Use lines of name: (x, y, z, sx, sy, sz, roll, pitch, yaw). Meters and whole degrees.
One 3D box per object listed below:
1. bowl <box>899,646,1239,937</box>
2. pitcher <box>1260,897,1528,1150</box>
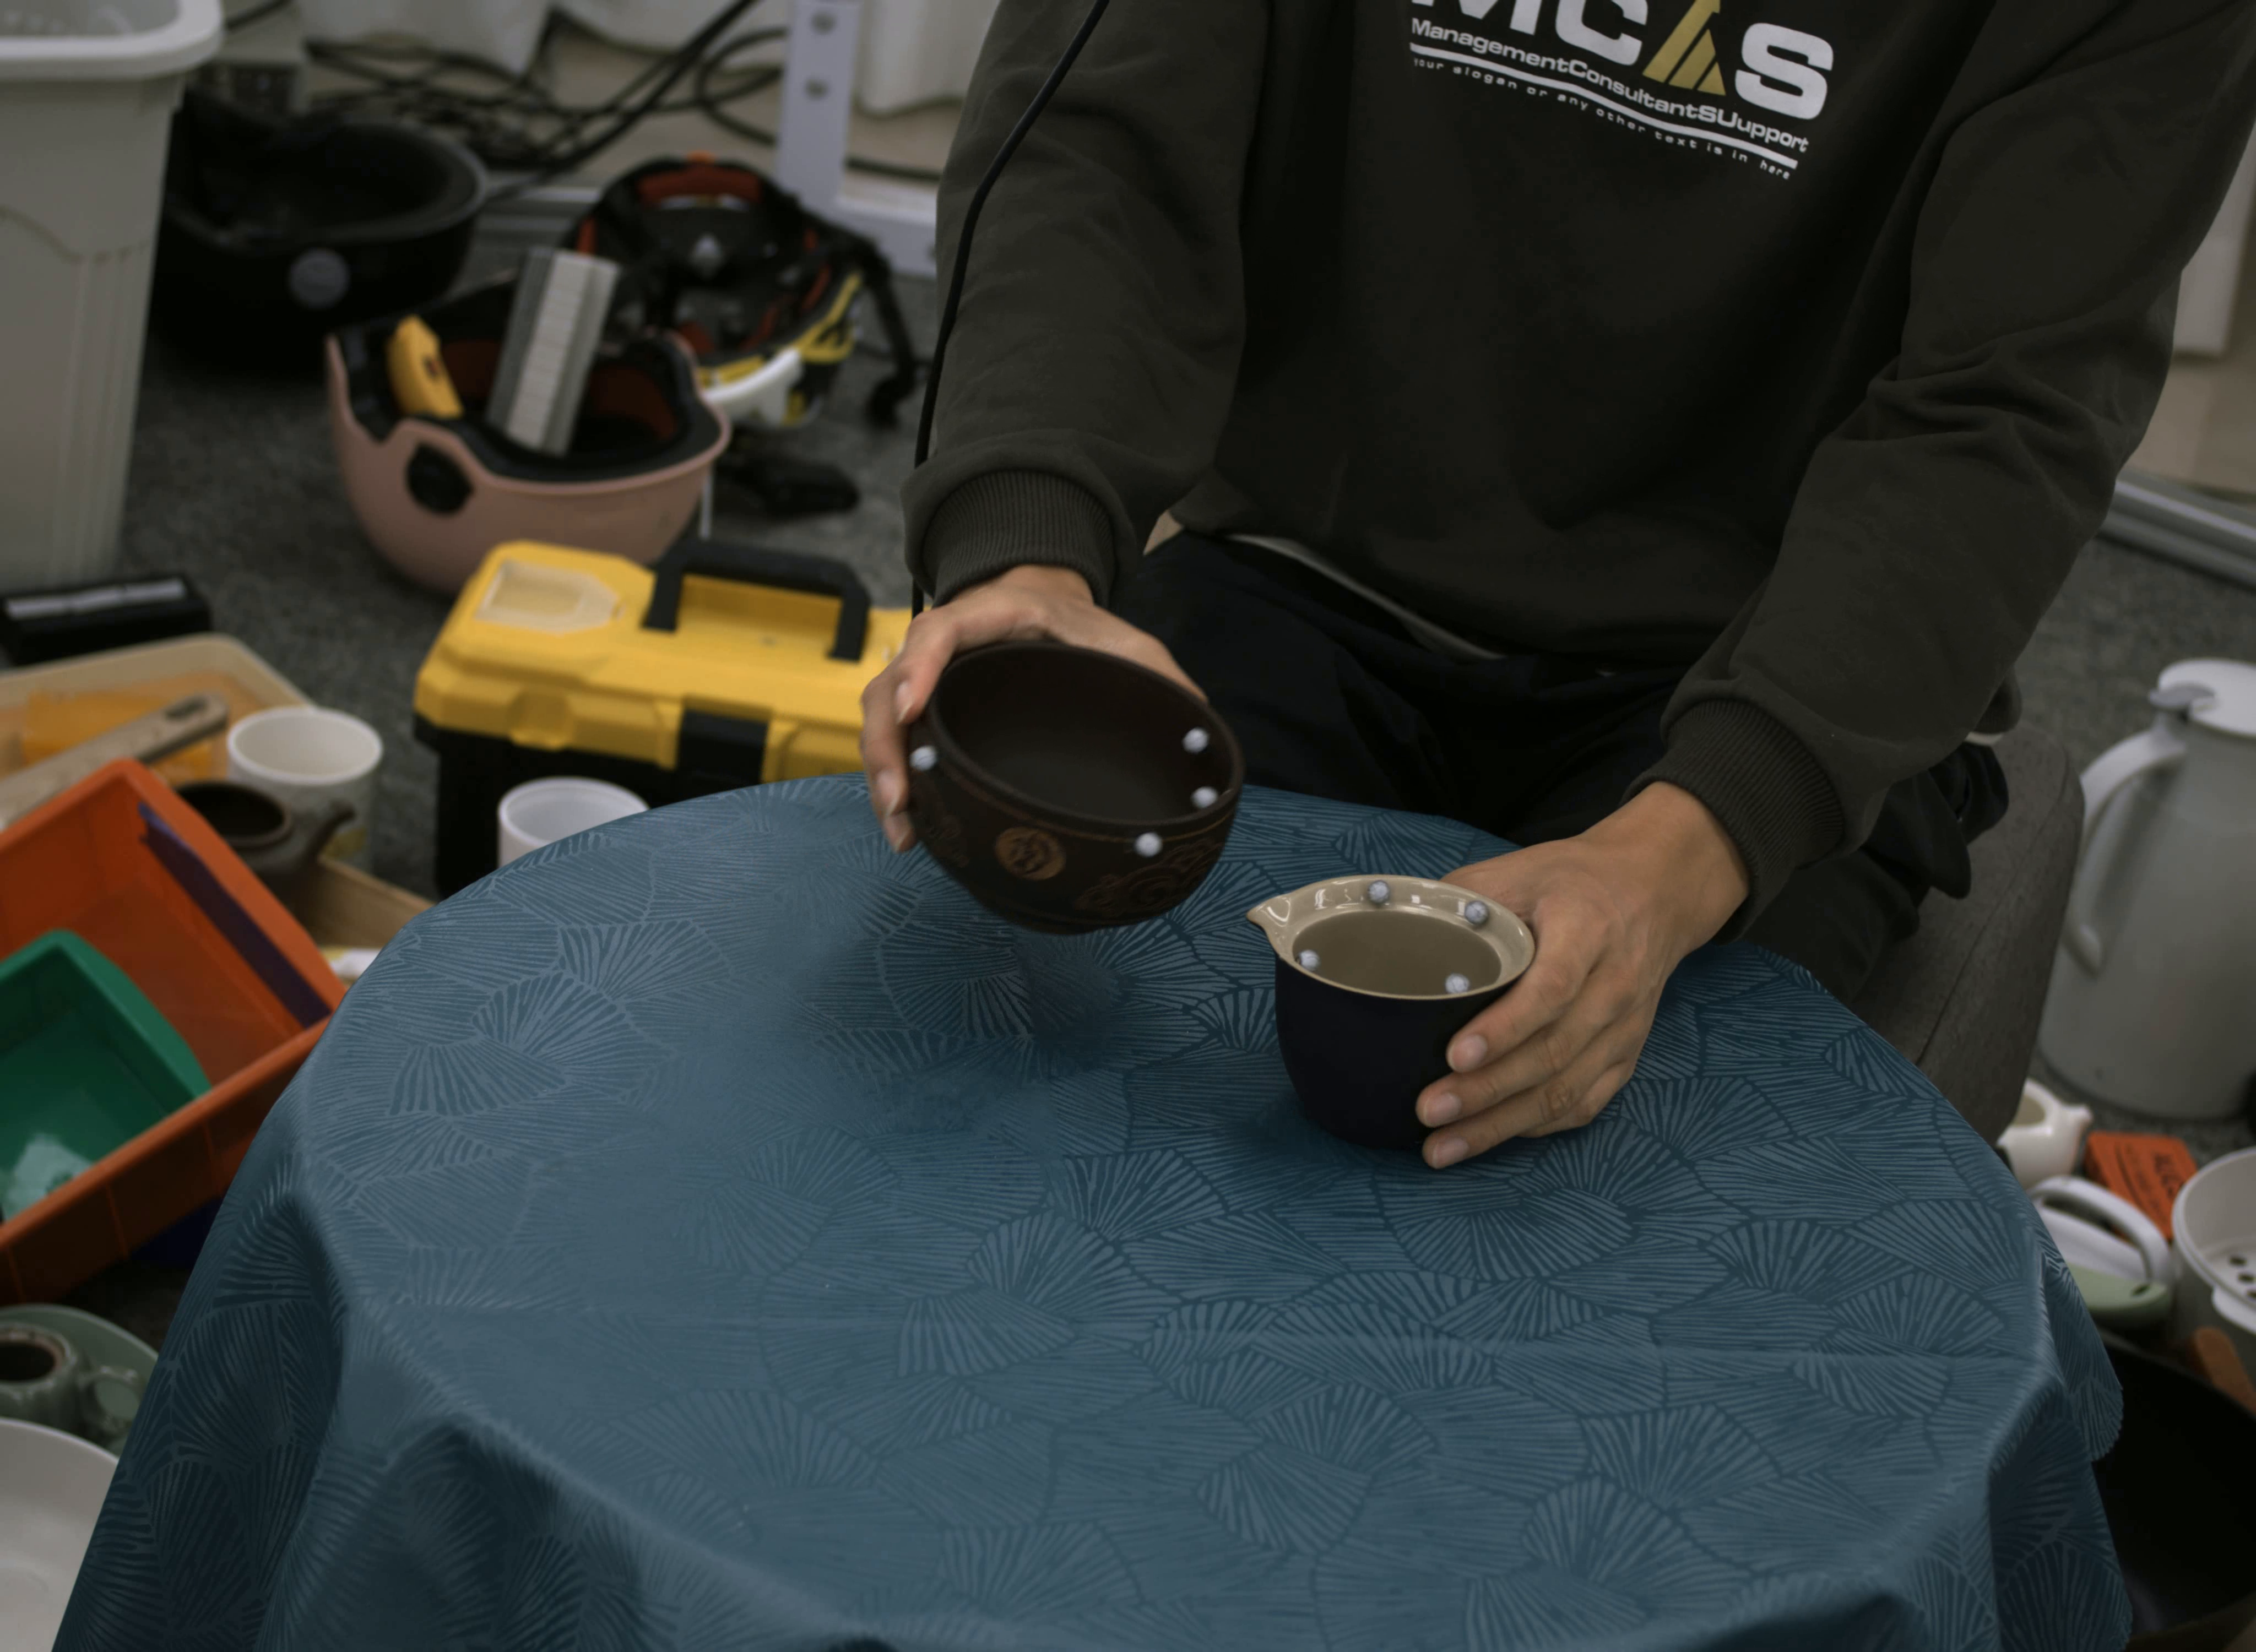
bowl: (-0.025, -0.005, 1.875, 0.117, 0.069, 0.119, 11, 30, -7)
pitcher: (0.089, 0.069, 1.854, 0.096, 0.071, 0.084, 14, 30, 20)
